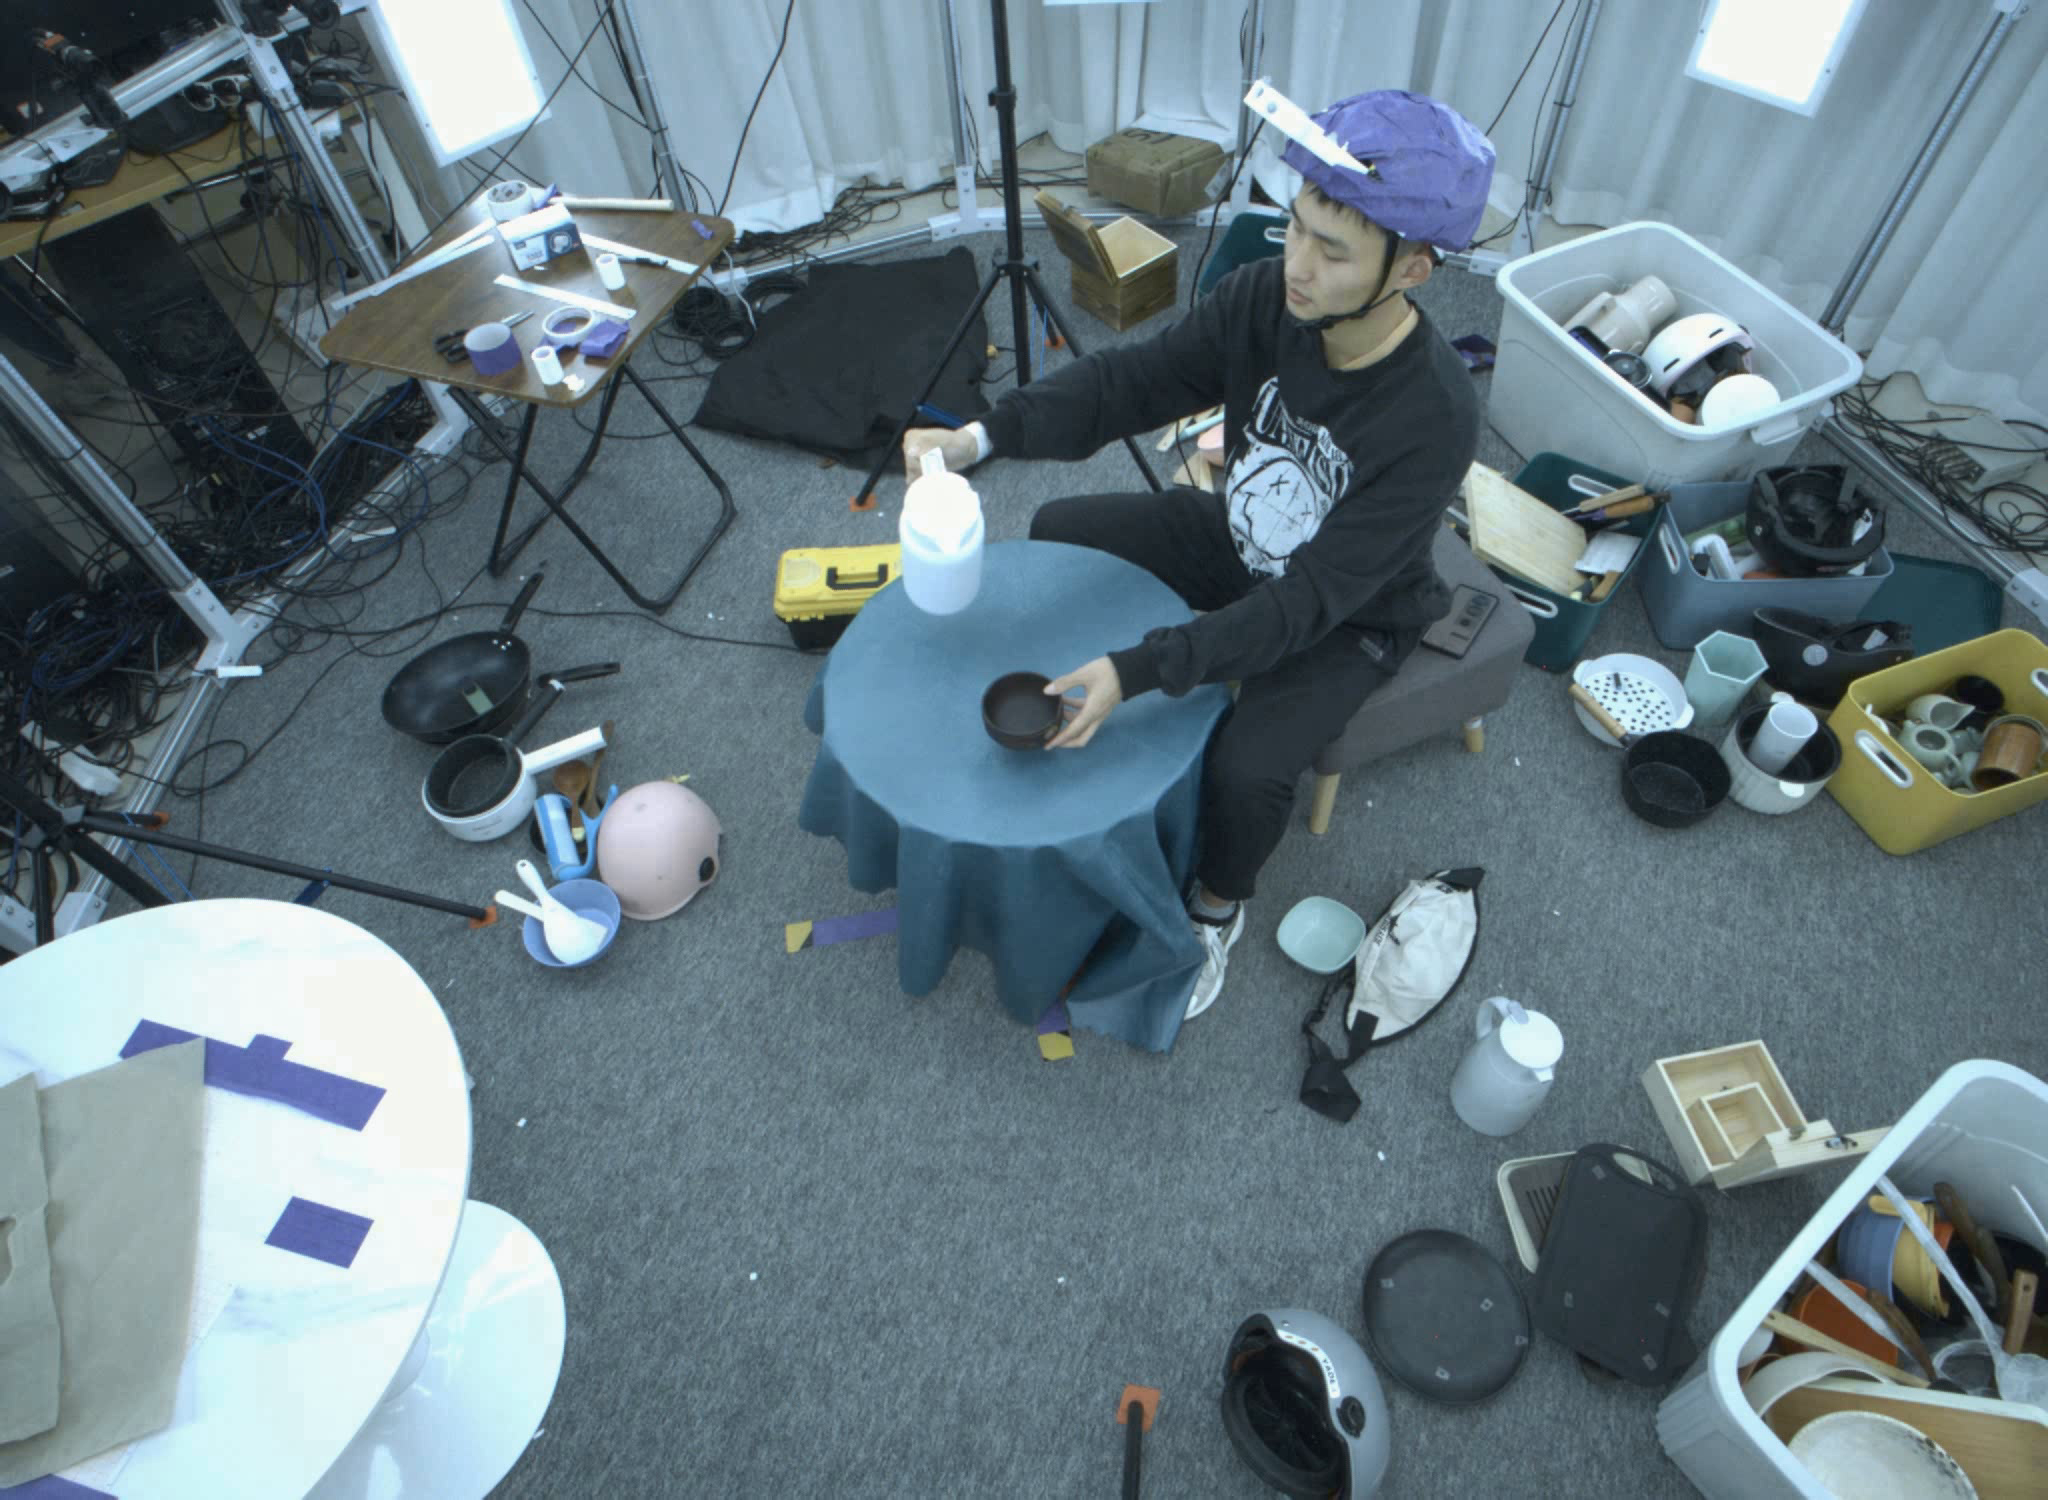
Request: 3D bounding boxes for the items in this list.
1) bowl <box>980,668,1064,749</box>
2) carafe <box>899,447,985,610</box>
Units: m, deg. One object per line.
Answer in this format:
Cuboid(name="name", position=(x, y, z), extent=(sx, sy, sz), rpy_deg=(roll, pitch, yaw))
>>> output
Cuboid(name="bowl", position=(-0.001, -0.050, 1.742), extent=(0.118, 0.070, 0.117), rpy_deg=(-1, 55, 3))
Cuboid(name="carafe", position=(-0.123, -0.309, 1.726), extent=(0.124, 0.269, 0.172), rpy_deg=(-12, 79, -6))
